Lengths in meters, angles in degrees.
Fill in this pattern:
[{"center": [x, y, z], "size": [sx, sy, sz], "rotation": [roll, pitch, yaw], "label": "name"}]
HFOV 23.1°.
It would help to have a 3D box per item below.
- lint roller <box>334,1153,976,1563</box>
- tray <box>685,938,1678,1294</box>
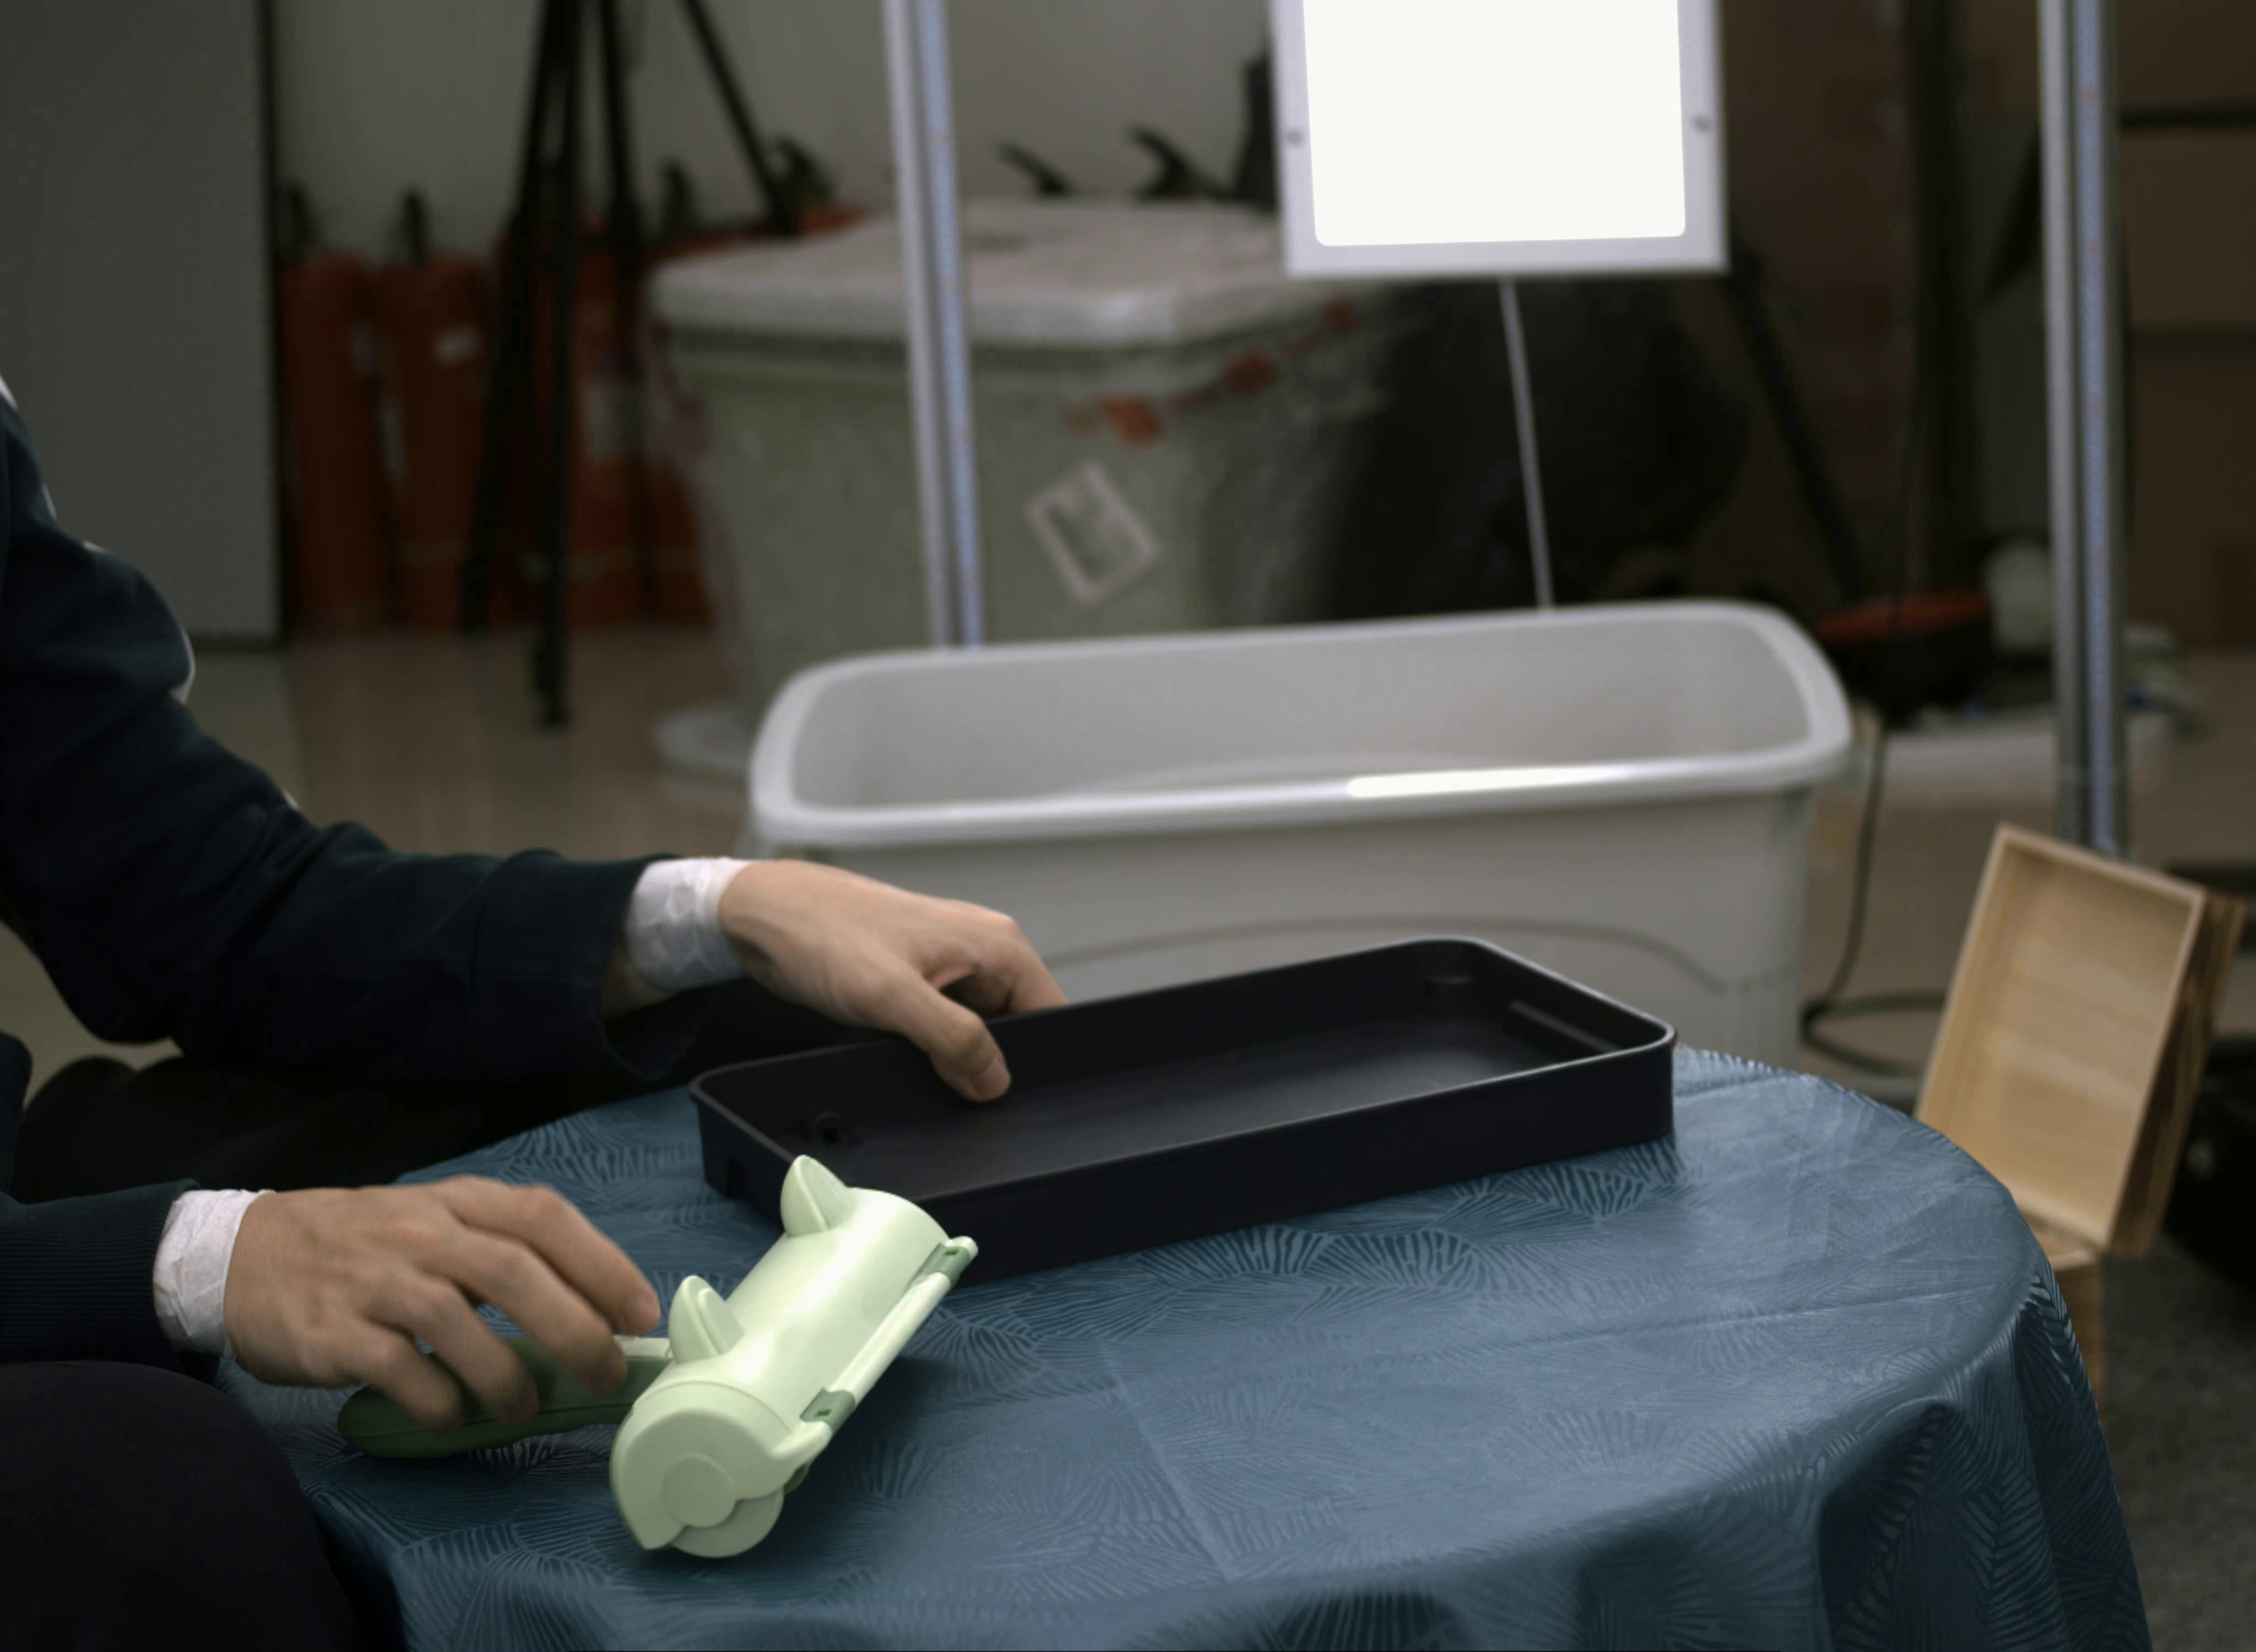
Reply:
[{"center": [-0.156, 0.154, 1.673], "size": [0.185, 0.082, 0.196], "rotation": [2, 15, 14], "label": "lint roller"}, {"center": [0.019, 0.098, 1.927], "size": [0.312, 0.037, 0.187], "rotation": [-10, 15, -20], "label": "tray"}]
